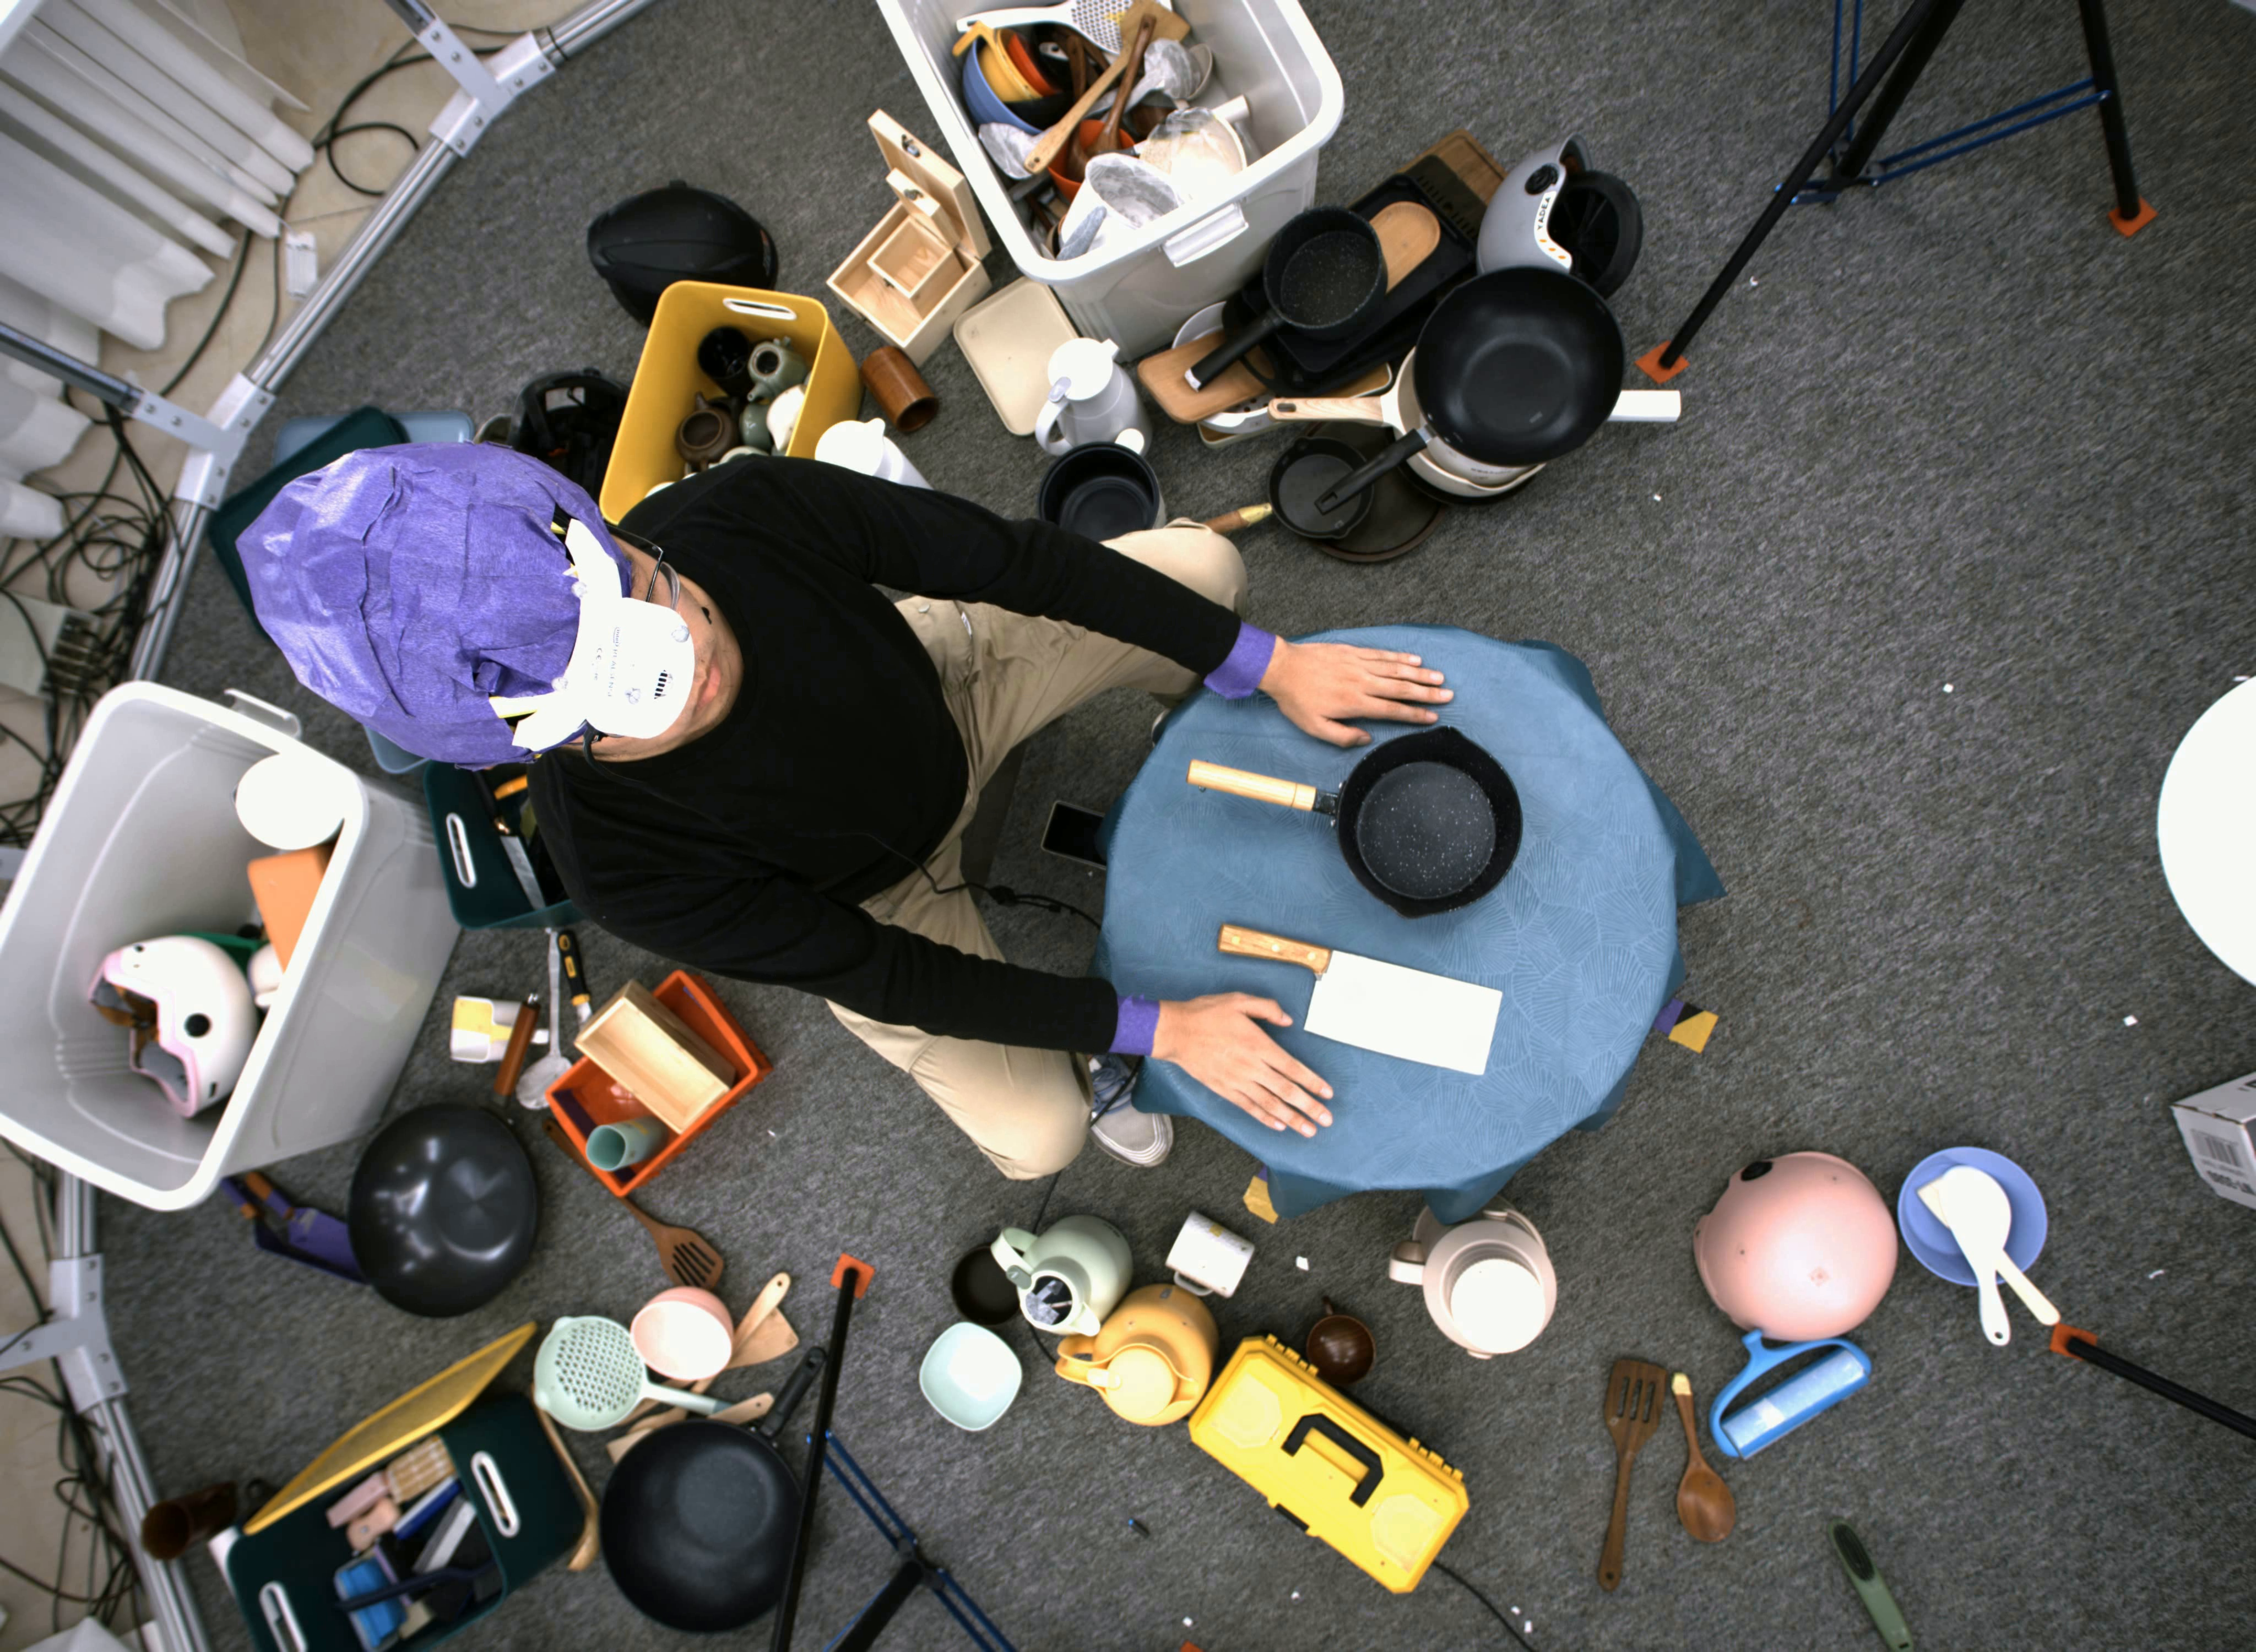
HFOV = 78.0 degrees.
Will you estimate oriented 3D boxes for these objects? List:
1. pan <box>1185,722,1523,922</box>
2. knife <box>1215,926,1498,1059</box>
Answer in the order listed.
[{"bbox_3d":[0.228,-0.017,1.420,0.343,0.108,0.207,11,89,10],"label":"pan"},{"bbox_3d":[0.233,0.177,1.456,0.306,0.021,0.093,13,91,9],"label":"knife"}]
